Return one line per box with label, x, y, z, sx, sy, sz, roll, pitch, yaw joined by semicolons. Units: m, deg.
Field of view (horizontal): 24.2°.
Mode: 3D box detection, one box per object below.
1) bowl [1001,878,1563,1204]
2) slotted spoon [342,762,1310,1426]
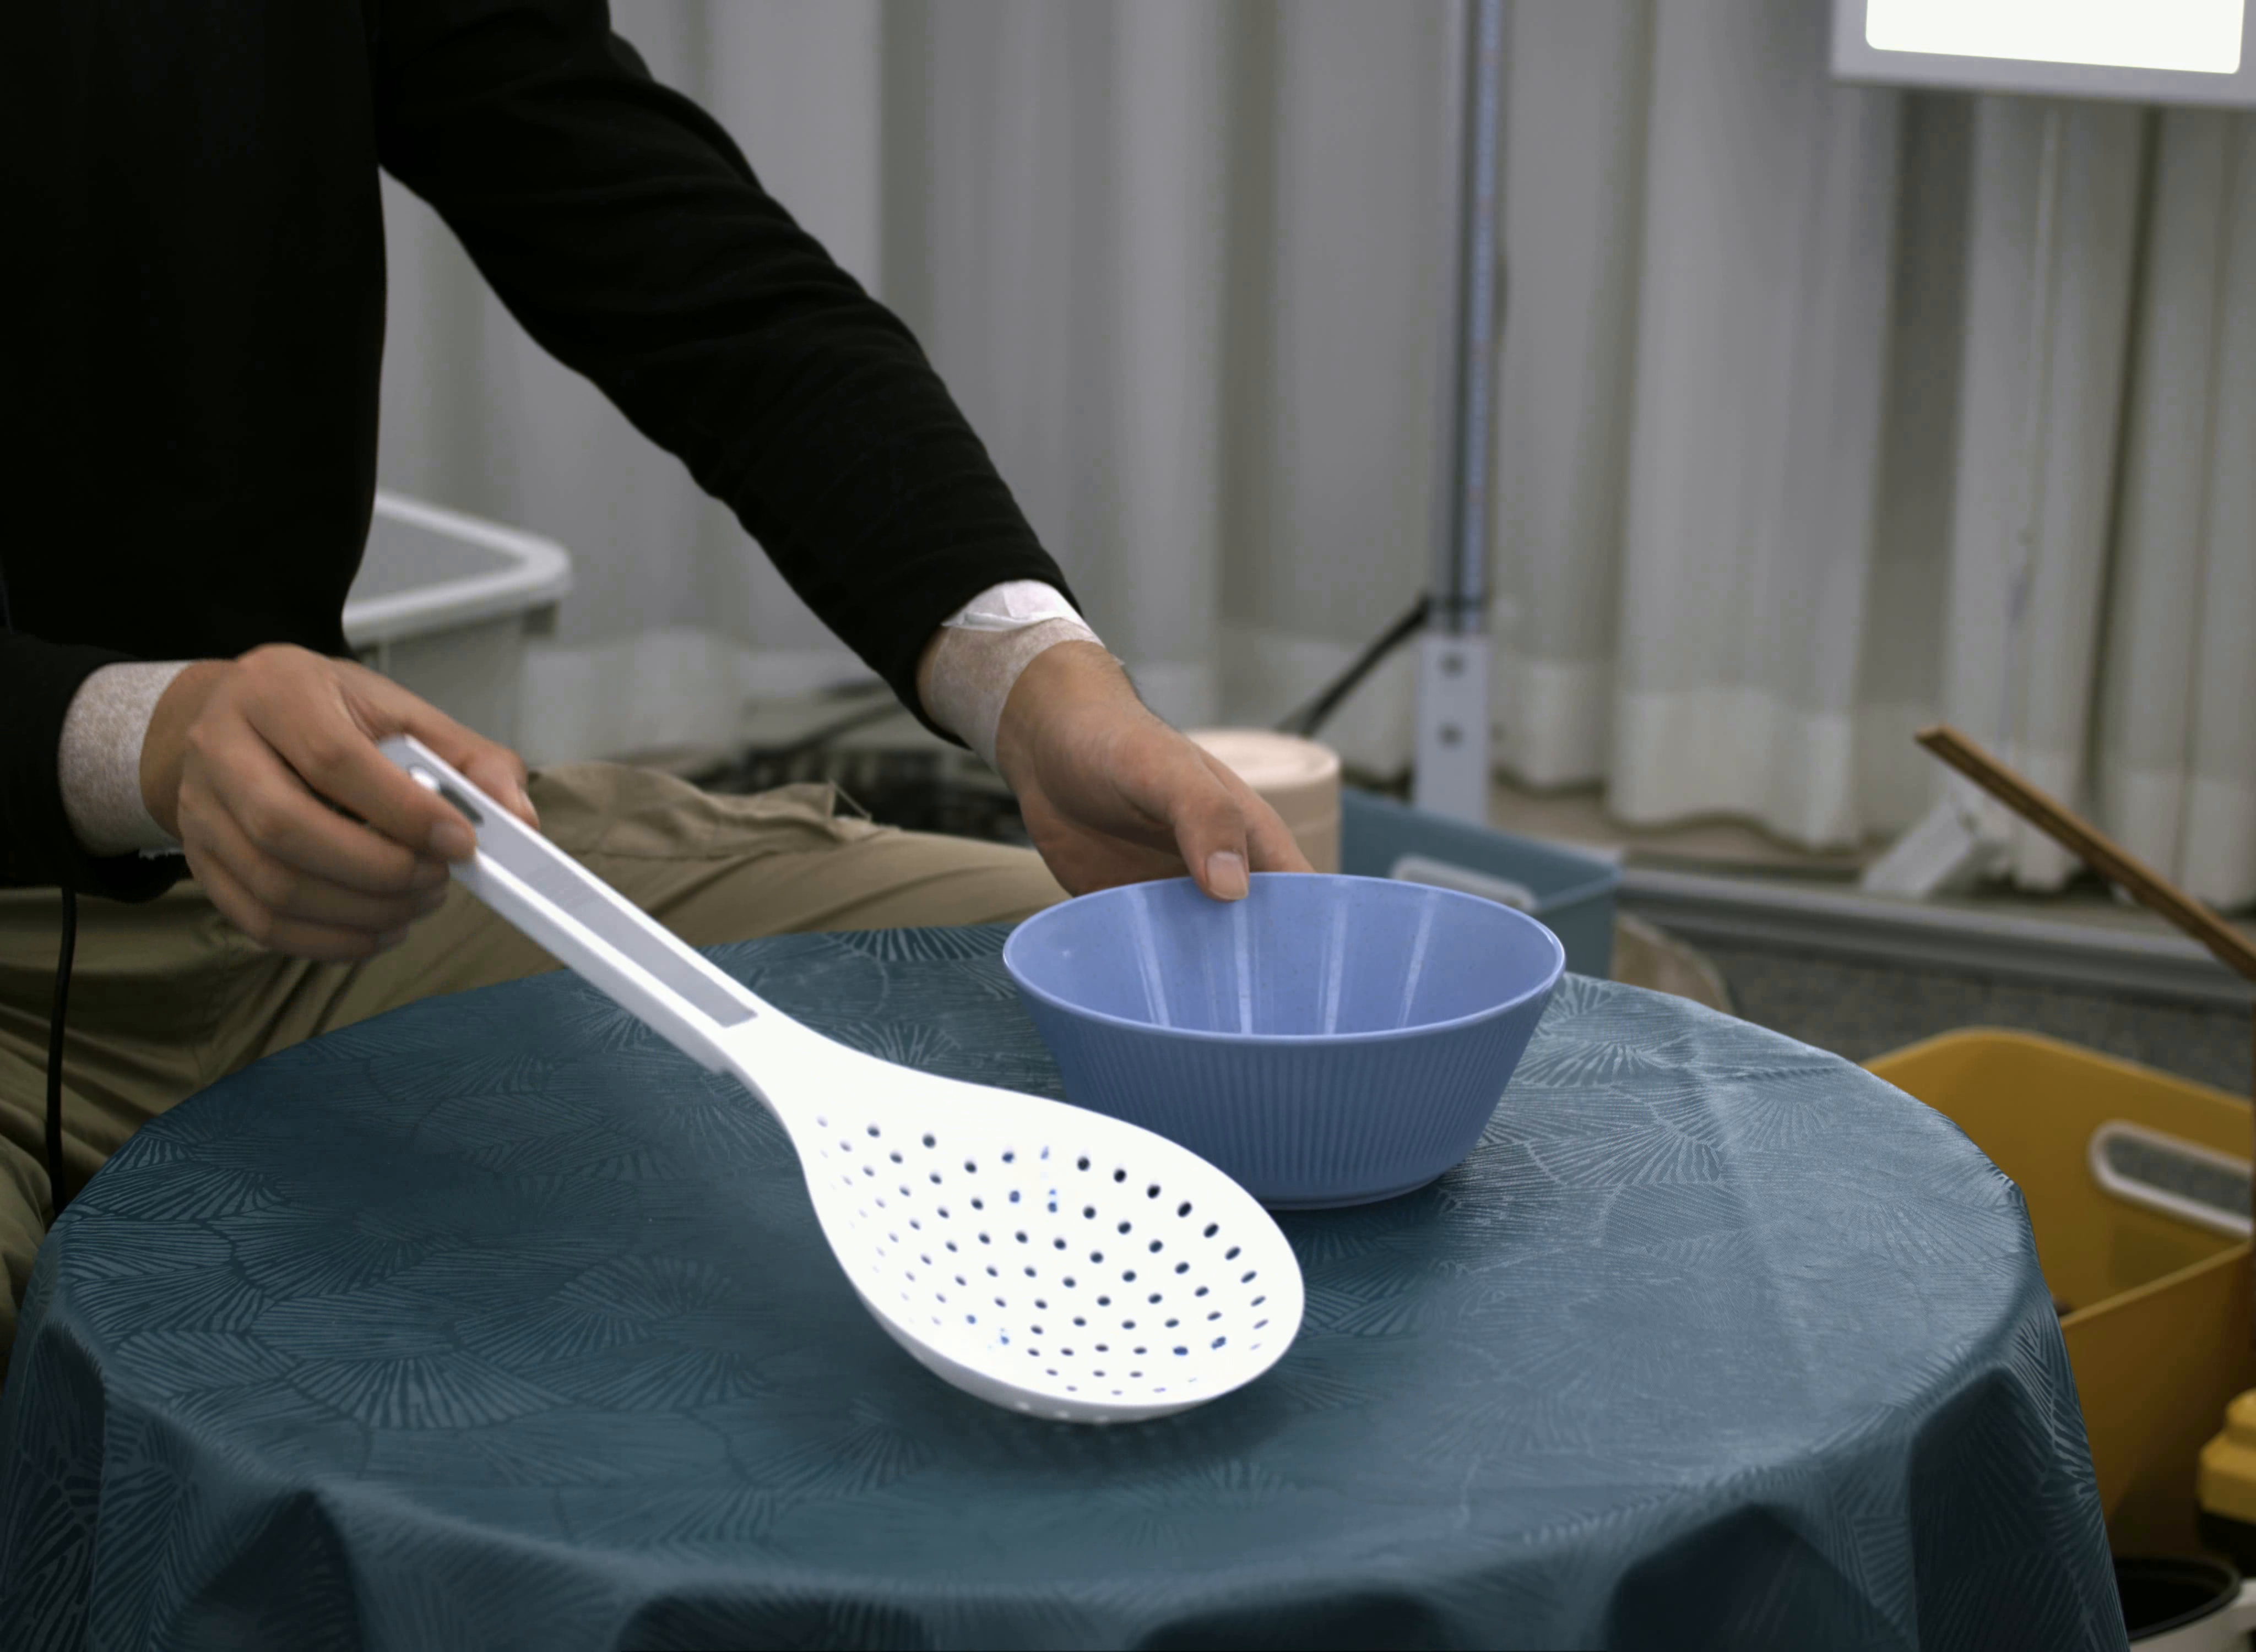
bowl;0.048;0.069;1.647;0.175;0.071;0.175;0;15;1
slotted spoon;-0.098;0.071;1.498;0.346;0.046;0.136;37;37;24
